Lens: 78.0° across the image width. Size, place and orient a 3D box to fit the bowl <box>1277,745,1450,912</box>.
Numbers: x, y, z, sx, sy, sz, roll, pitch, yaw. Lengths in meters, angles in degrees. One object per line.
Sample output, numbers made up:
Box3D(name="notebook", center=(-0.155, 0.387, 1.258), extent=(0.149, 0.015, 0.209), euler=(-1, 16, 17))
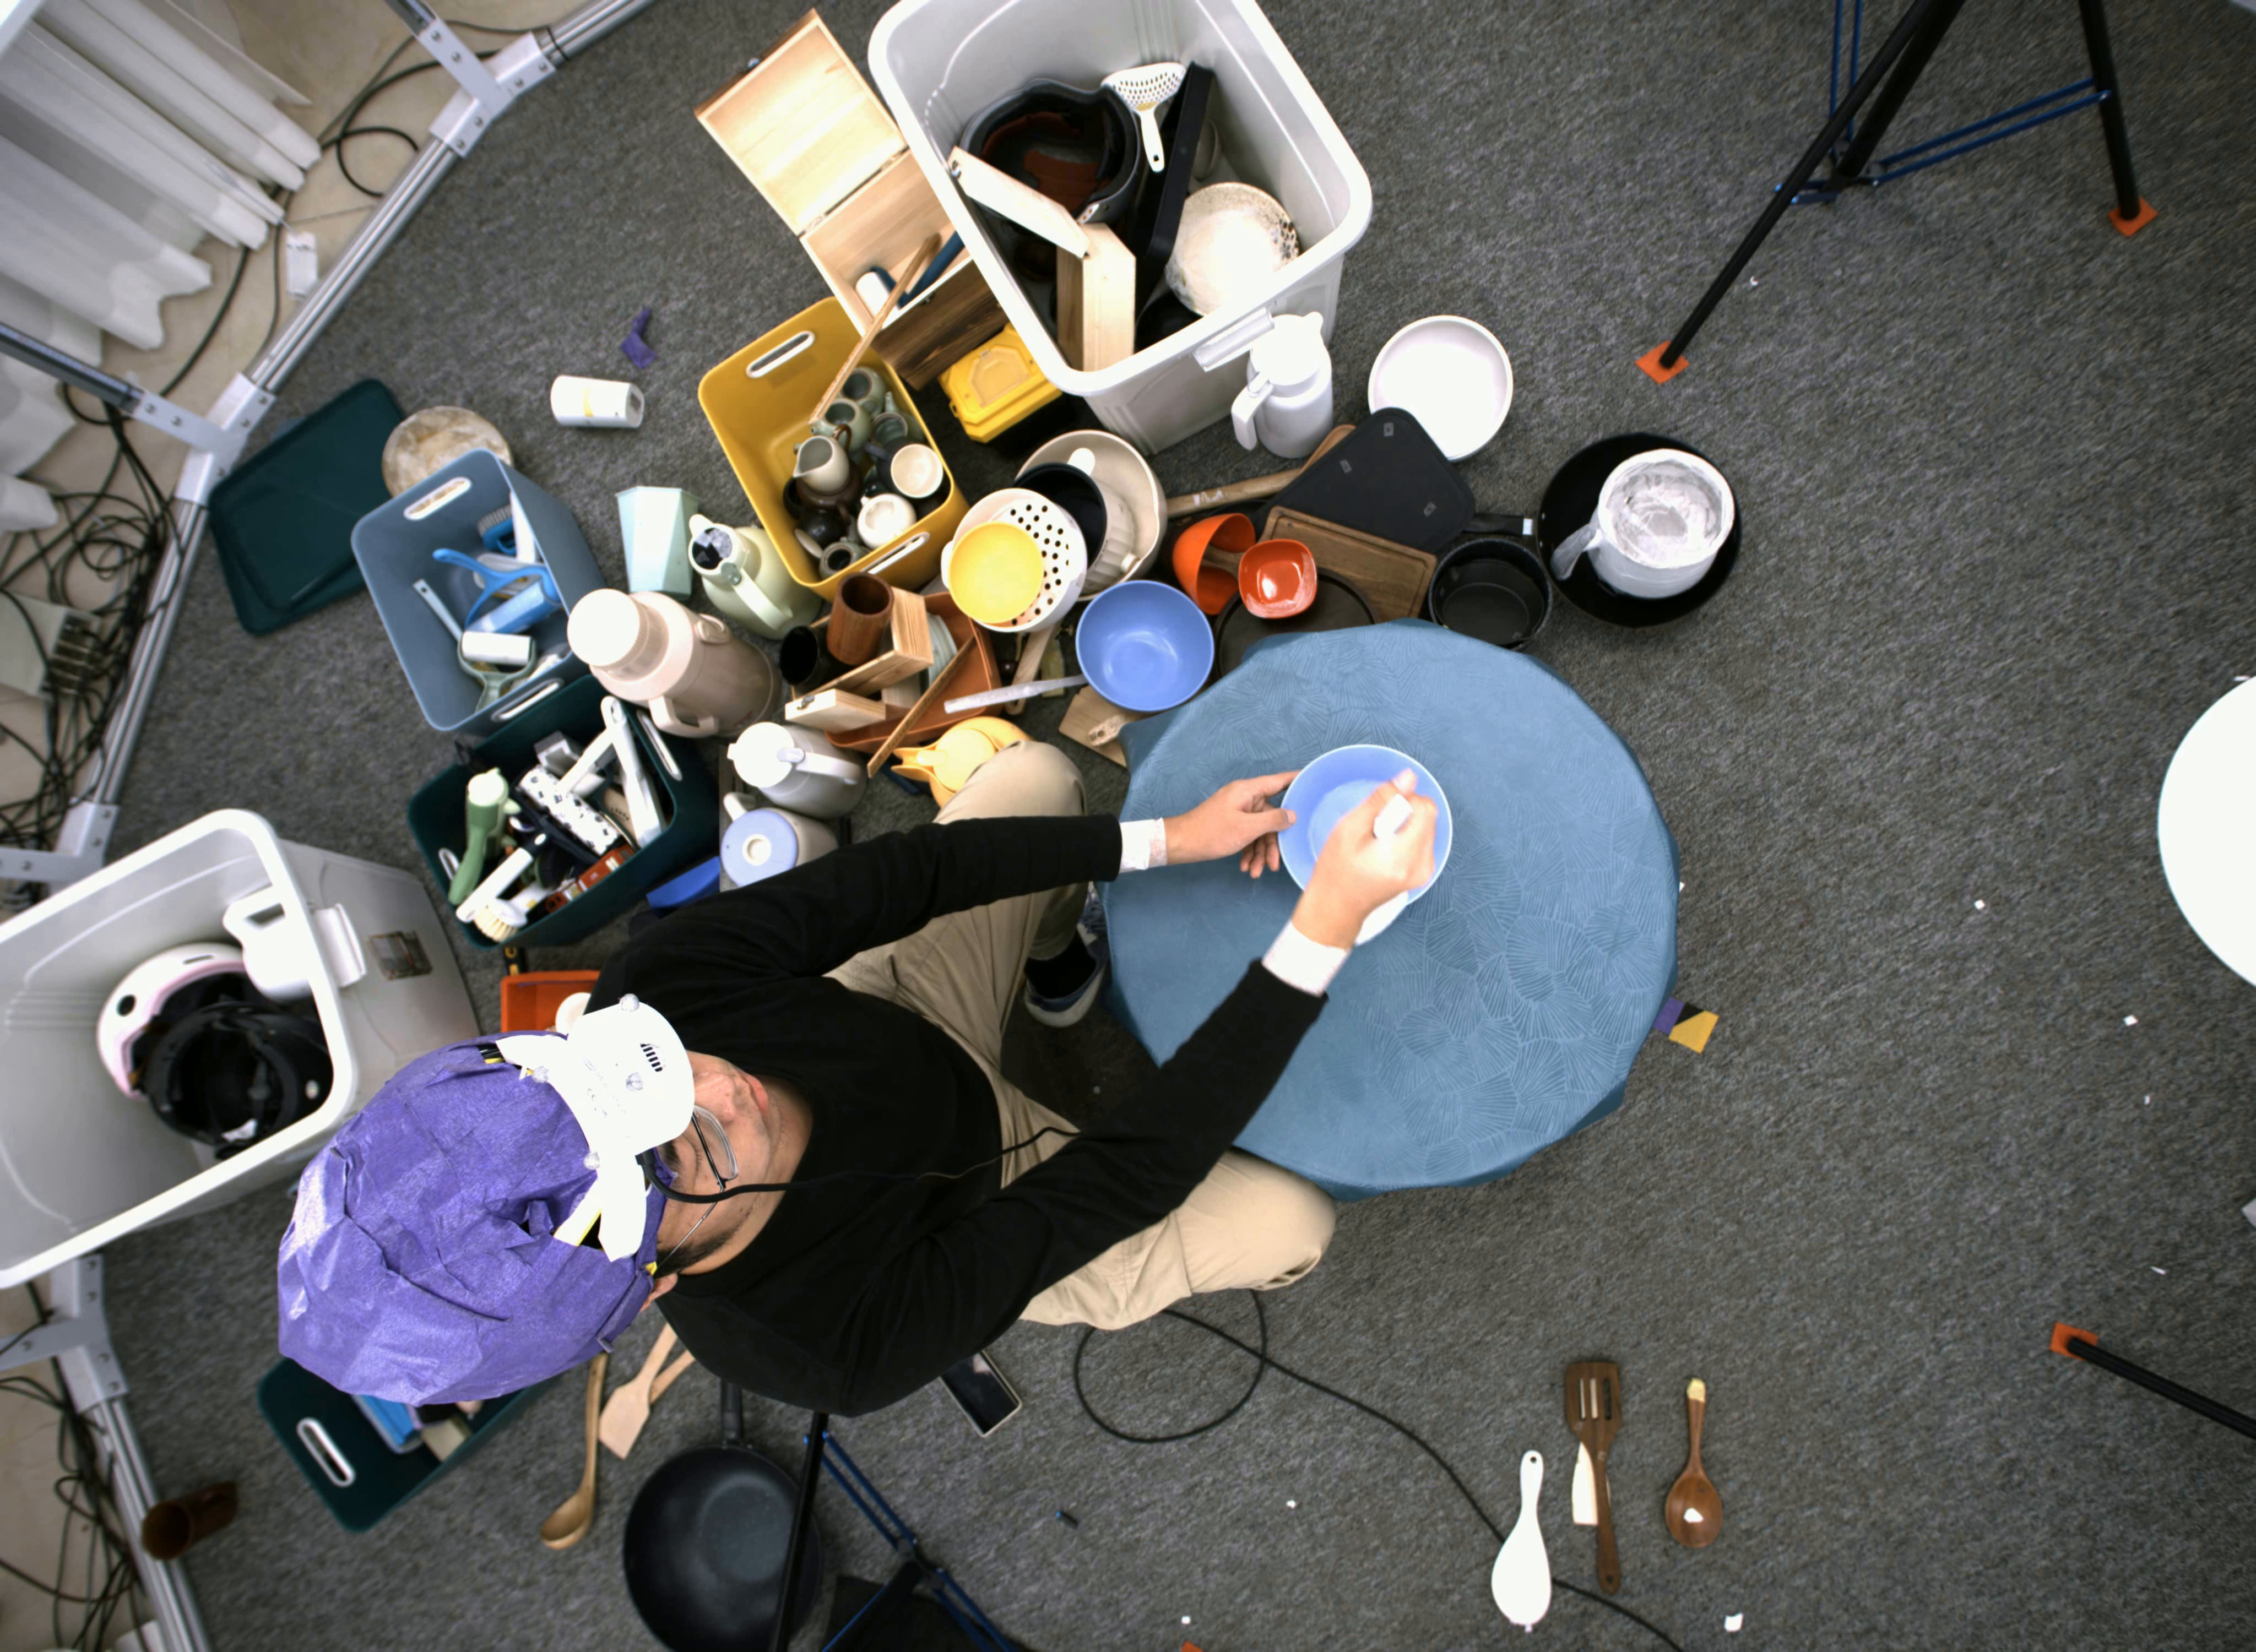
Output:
Box3D(name="bowl", center=(0.244, 0.006, 1.433), extent=(0.177, 0.070, 0.175), euler=(-1, 87, 11))

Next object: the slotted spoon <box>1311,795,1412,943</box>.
Box3D(name="slotted spoon", center=(0.206, 0.030, 1.151), extent=(0.045, 0.353, 0.135), euler=(40, 83, 17))
